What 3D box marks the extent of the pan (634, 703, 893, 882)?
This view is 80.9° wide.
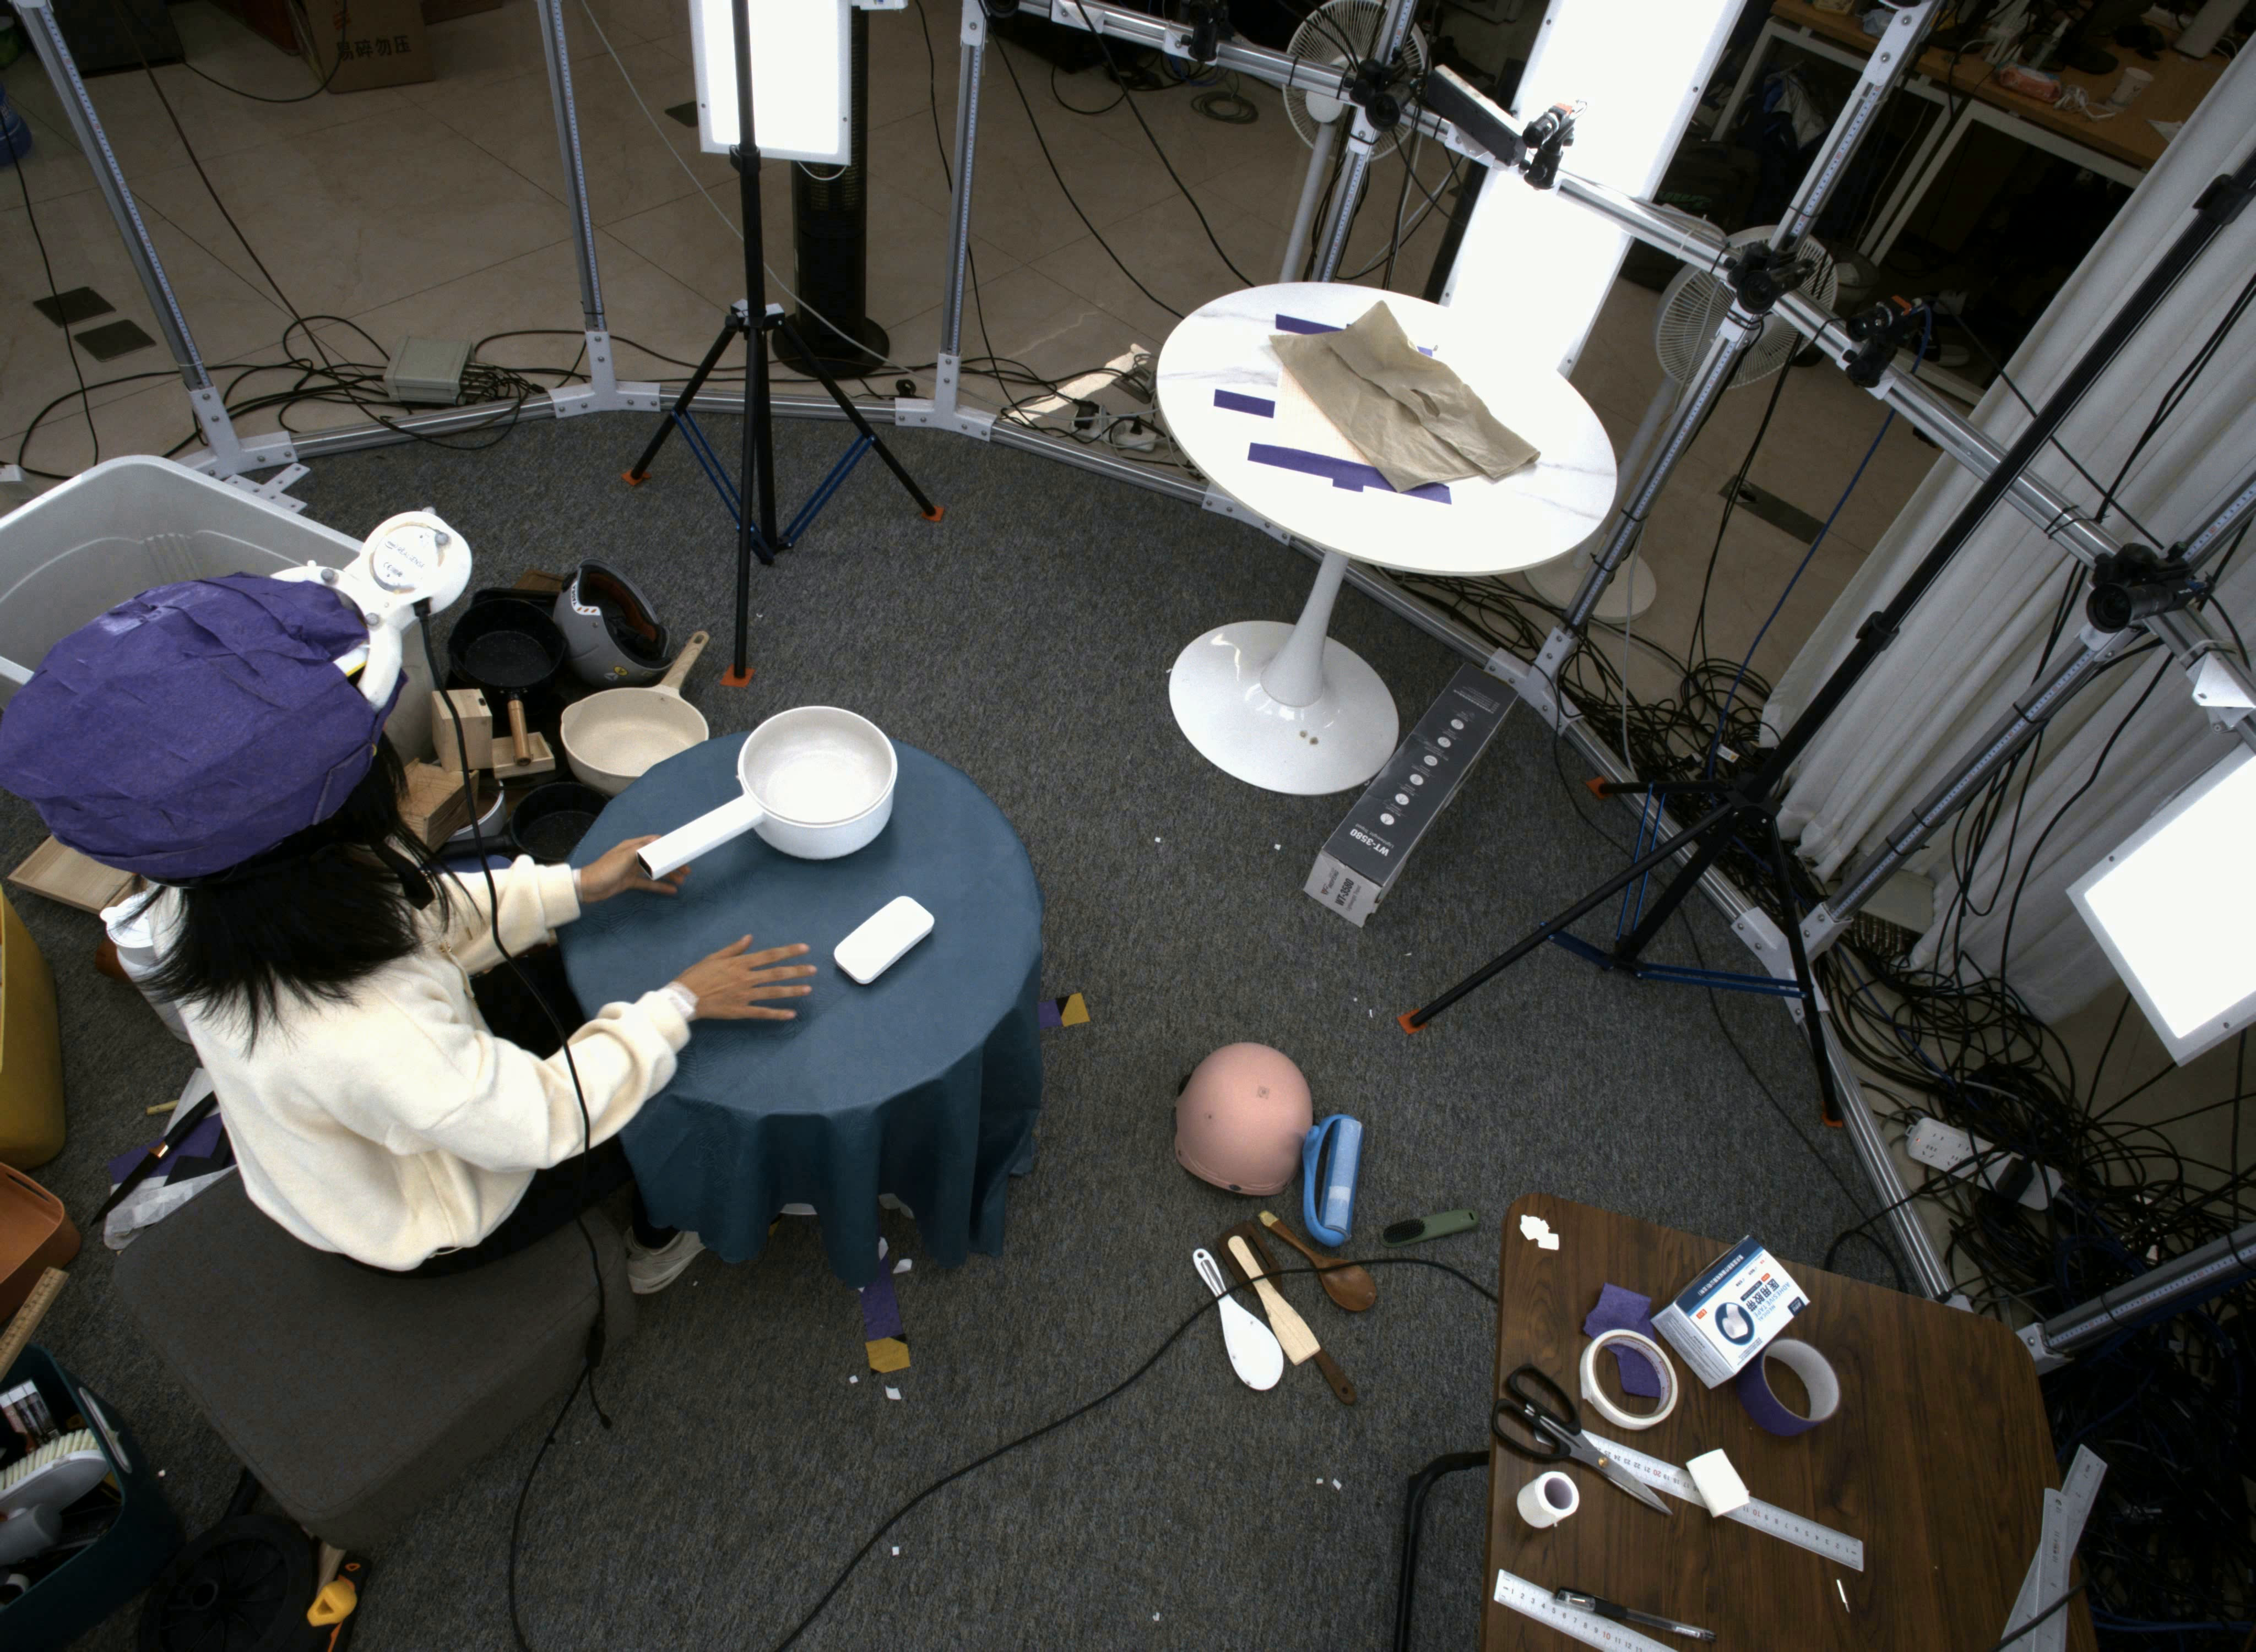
[{"bbox_3d":[-0.461,-0.017,1.658,0.355,0.104,0.196,-35,67,-30],"label":"pan"}]

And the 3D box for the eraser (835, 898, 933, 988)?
[{"bbox_3d":[-0.305,0.141,1.625,0.062,0.035,0.131,36,53,17],"label":"eraser"}]
